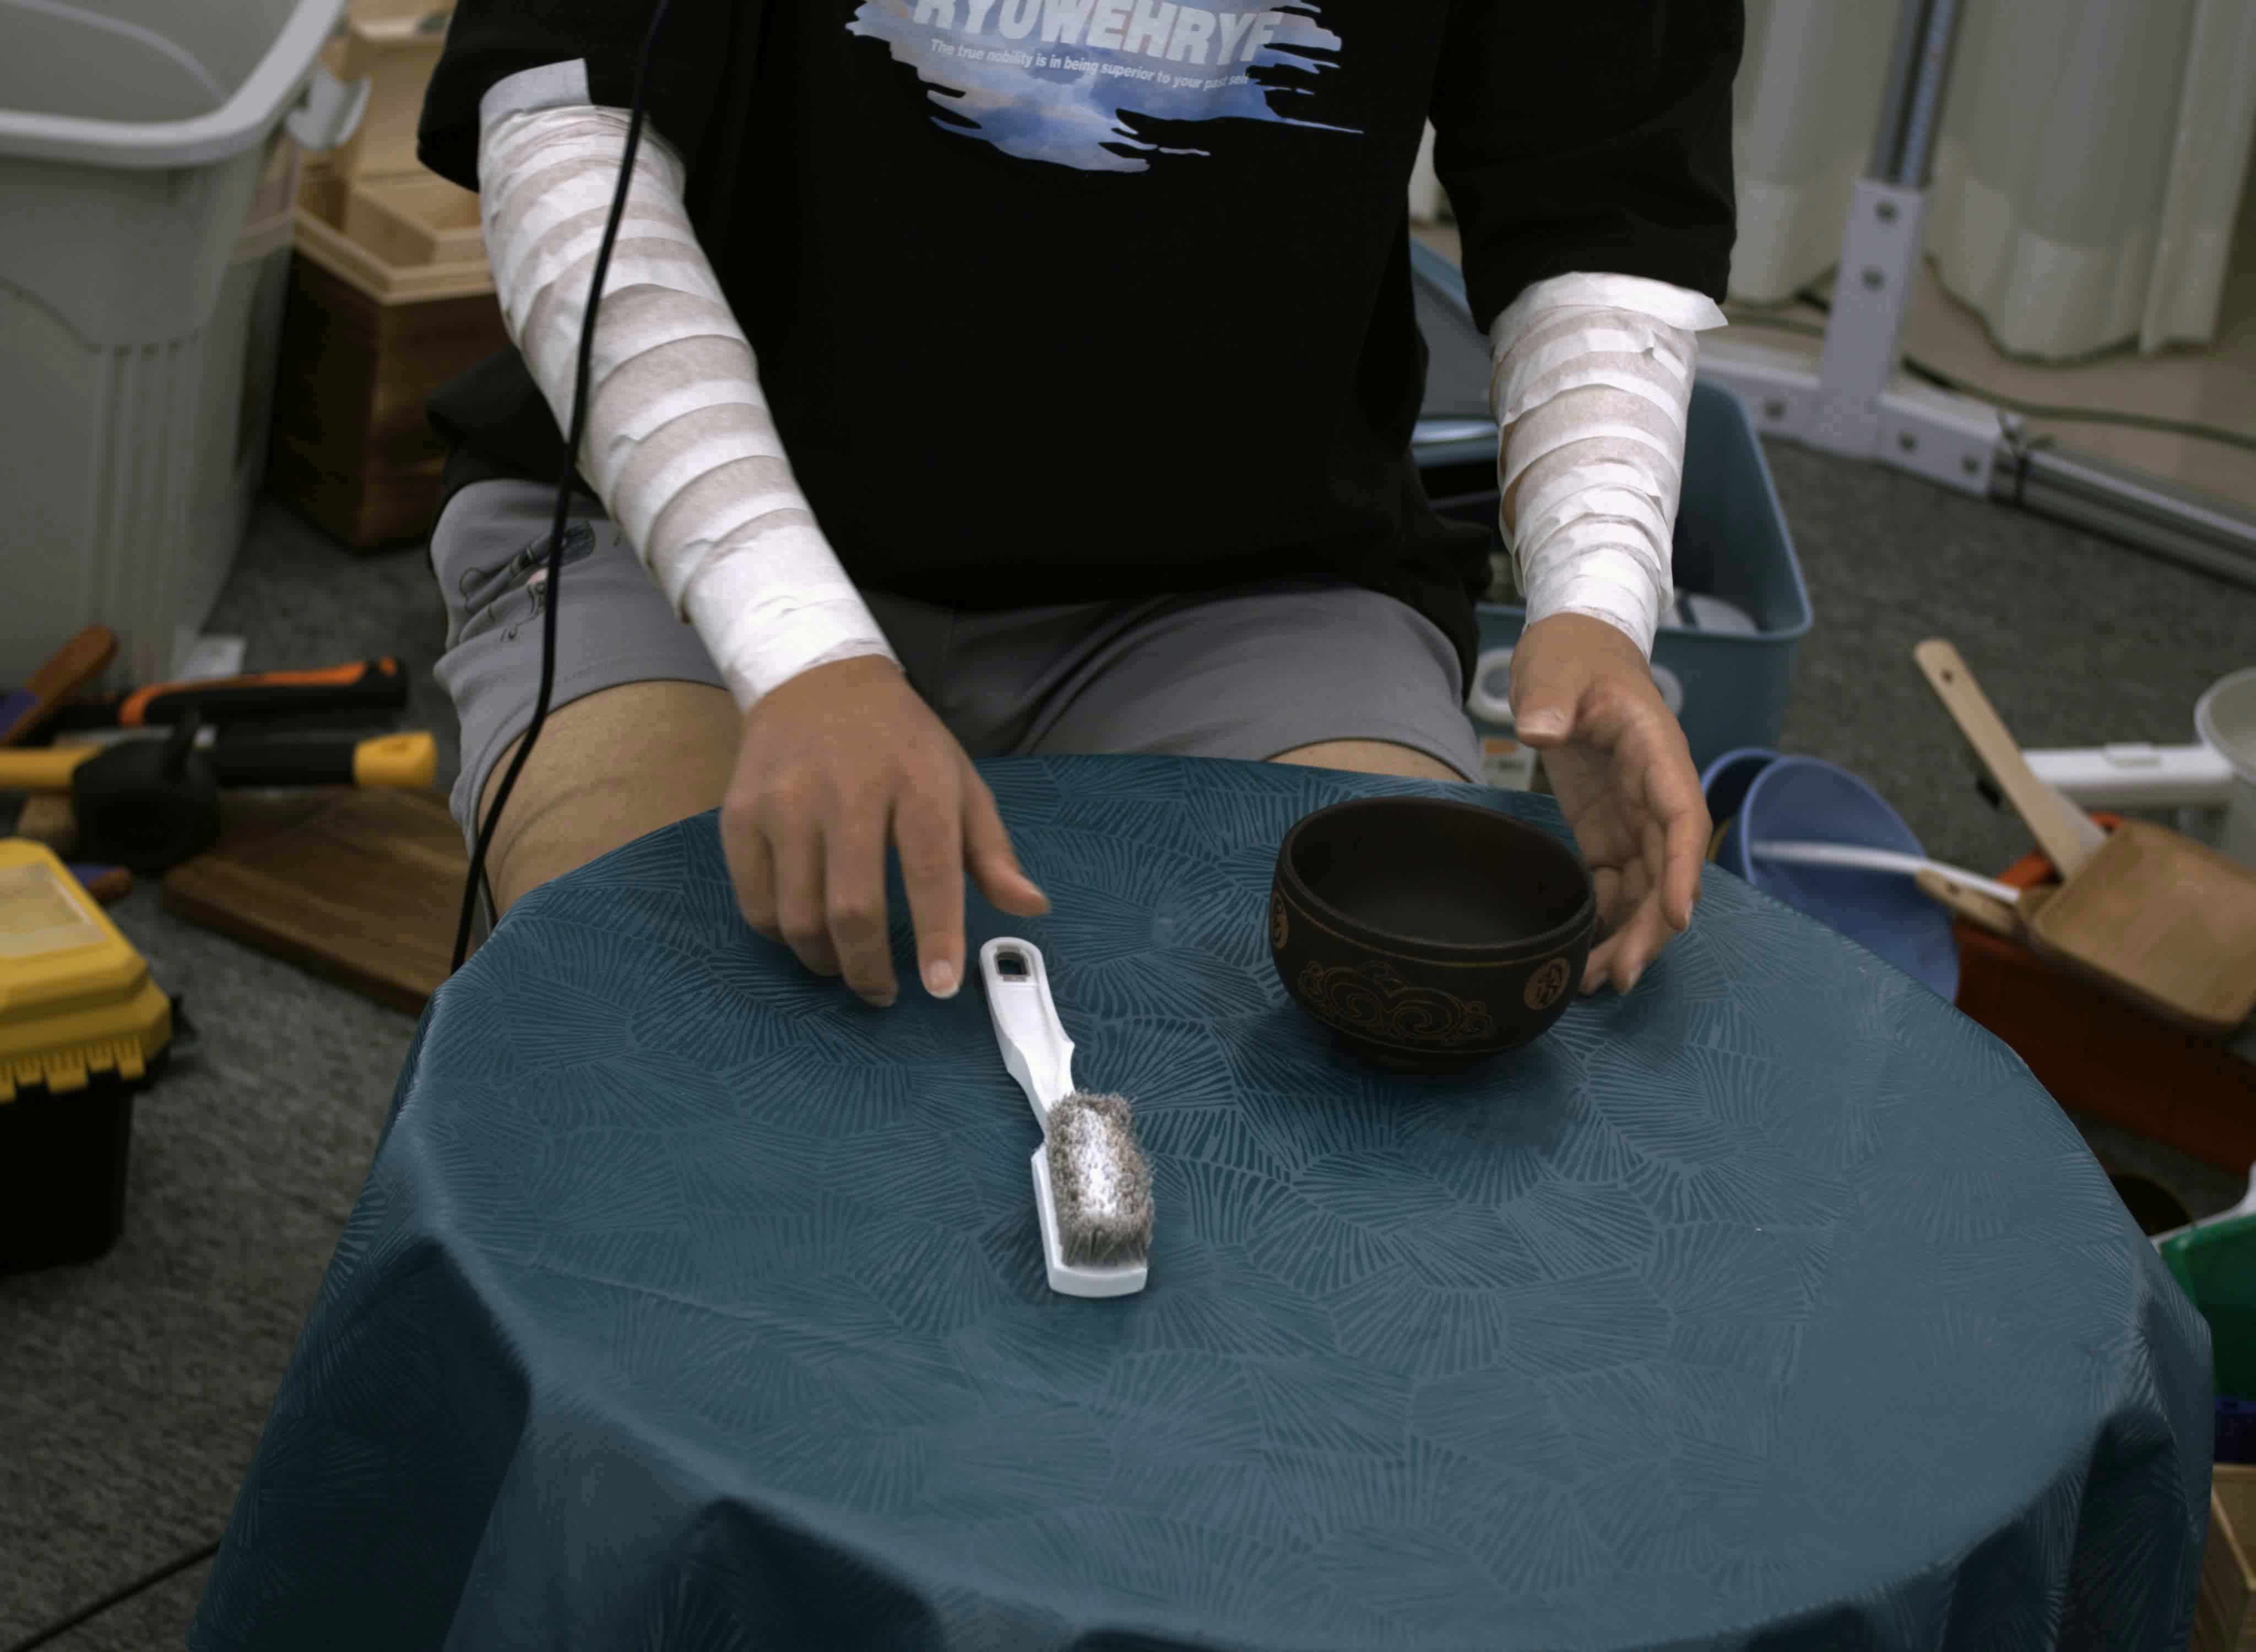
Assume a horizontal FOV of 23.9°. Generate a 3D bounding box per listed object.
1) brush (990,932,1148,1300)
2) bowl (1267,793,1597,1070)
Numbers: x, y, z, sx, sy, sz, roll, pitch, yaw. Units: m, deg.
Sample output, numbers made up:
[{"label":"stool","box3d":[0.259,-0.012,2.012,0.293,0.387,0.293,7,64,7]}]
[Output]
[{"label":"brush","box3d":[-0.023,0.082,1.826,0.034,0.050,0.245,3,28,-9]},{"label":"bowl","box3d":[0.107,0.044,1.905,0.117,0.069,0.119,4,25,-2]}]
